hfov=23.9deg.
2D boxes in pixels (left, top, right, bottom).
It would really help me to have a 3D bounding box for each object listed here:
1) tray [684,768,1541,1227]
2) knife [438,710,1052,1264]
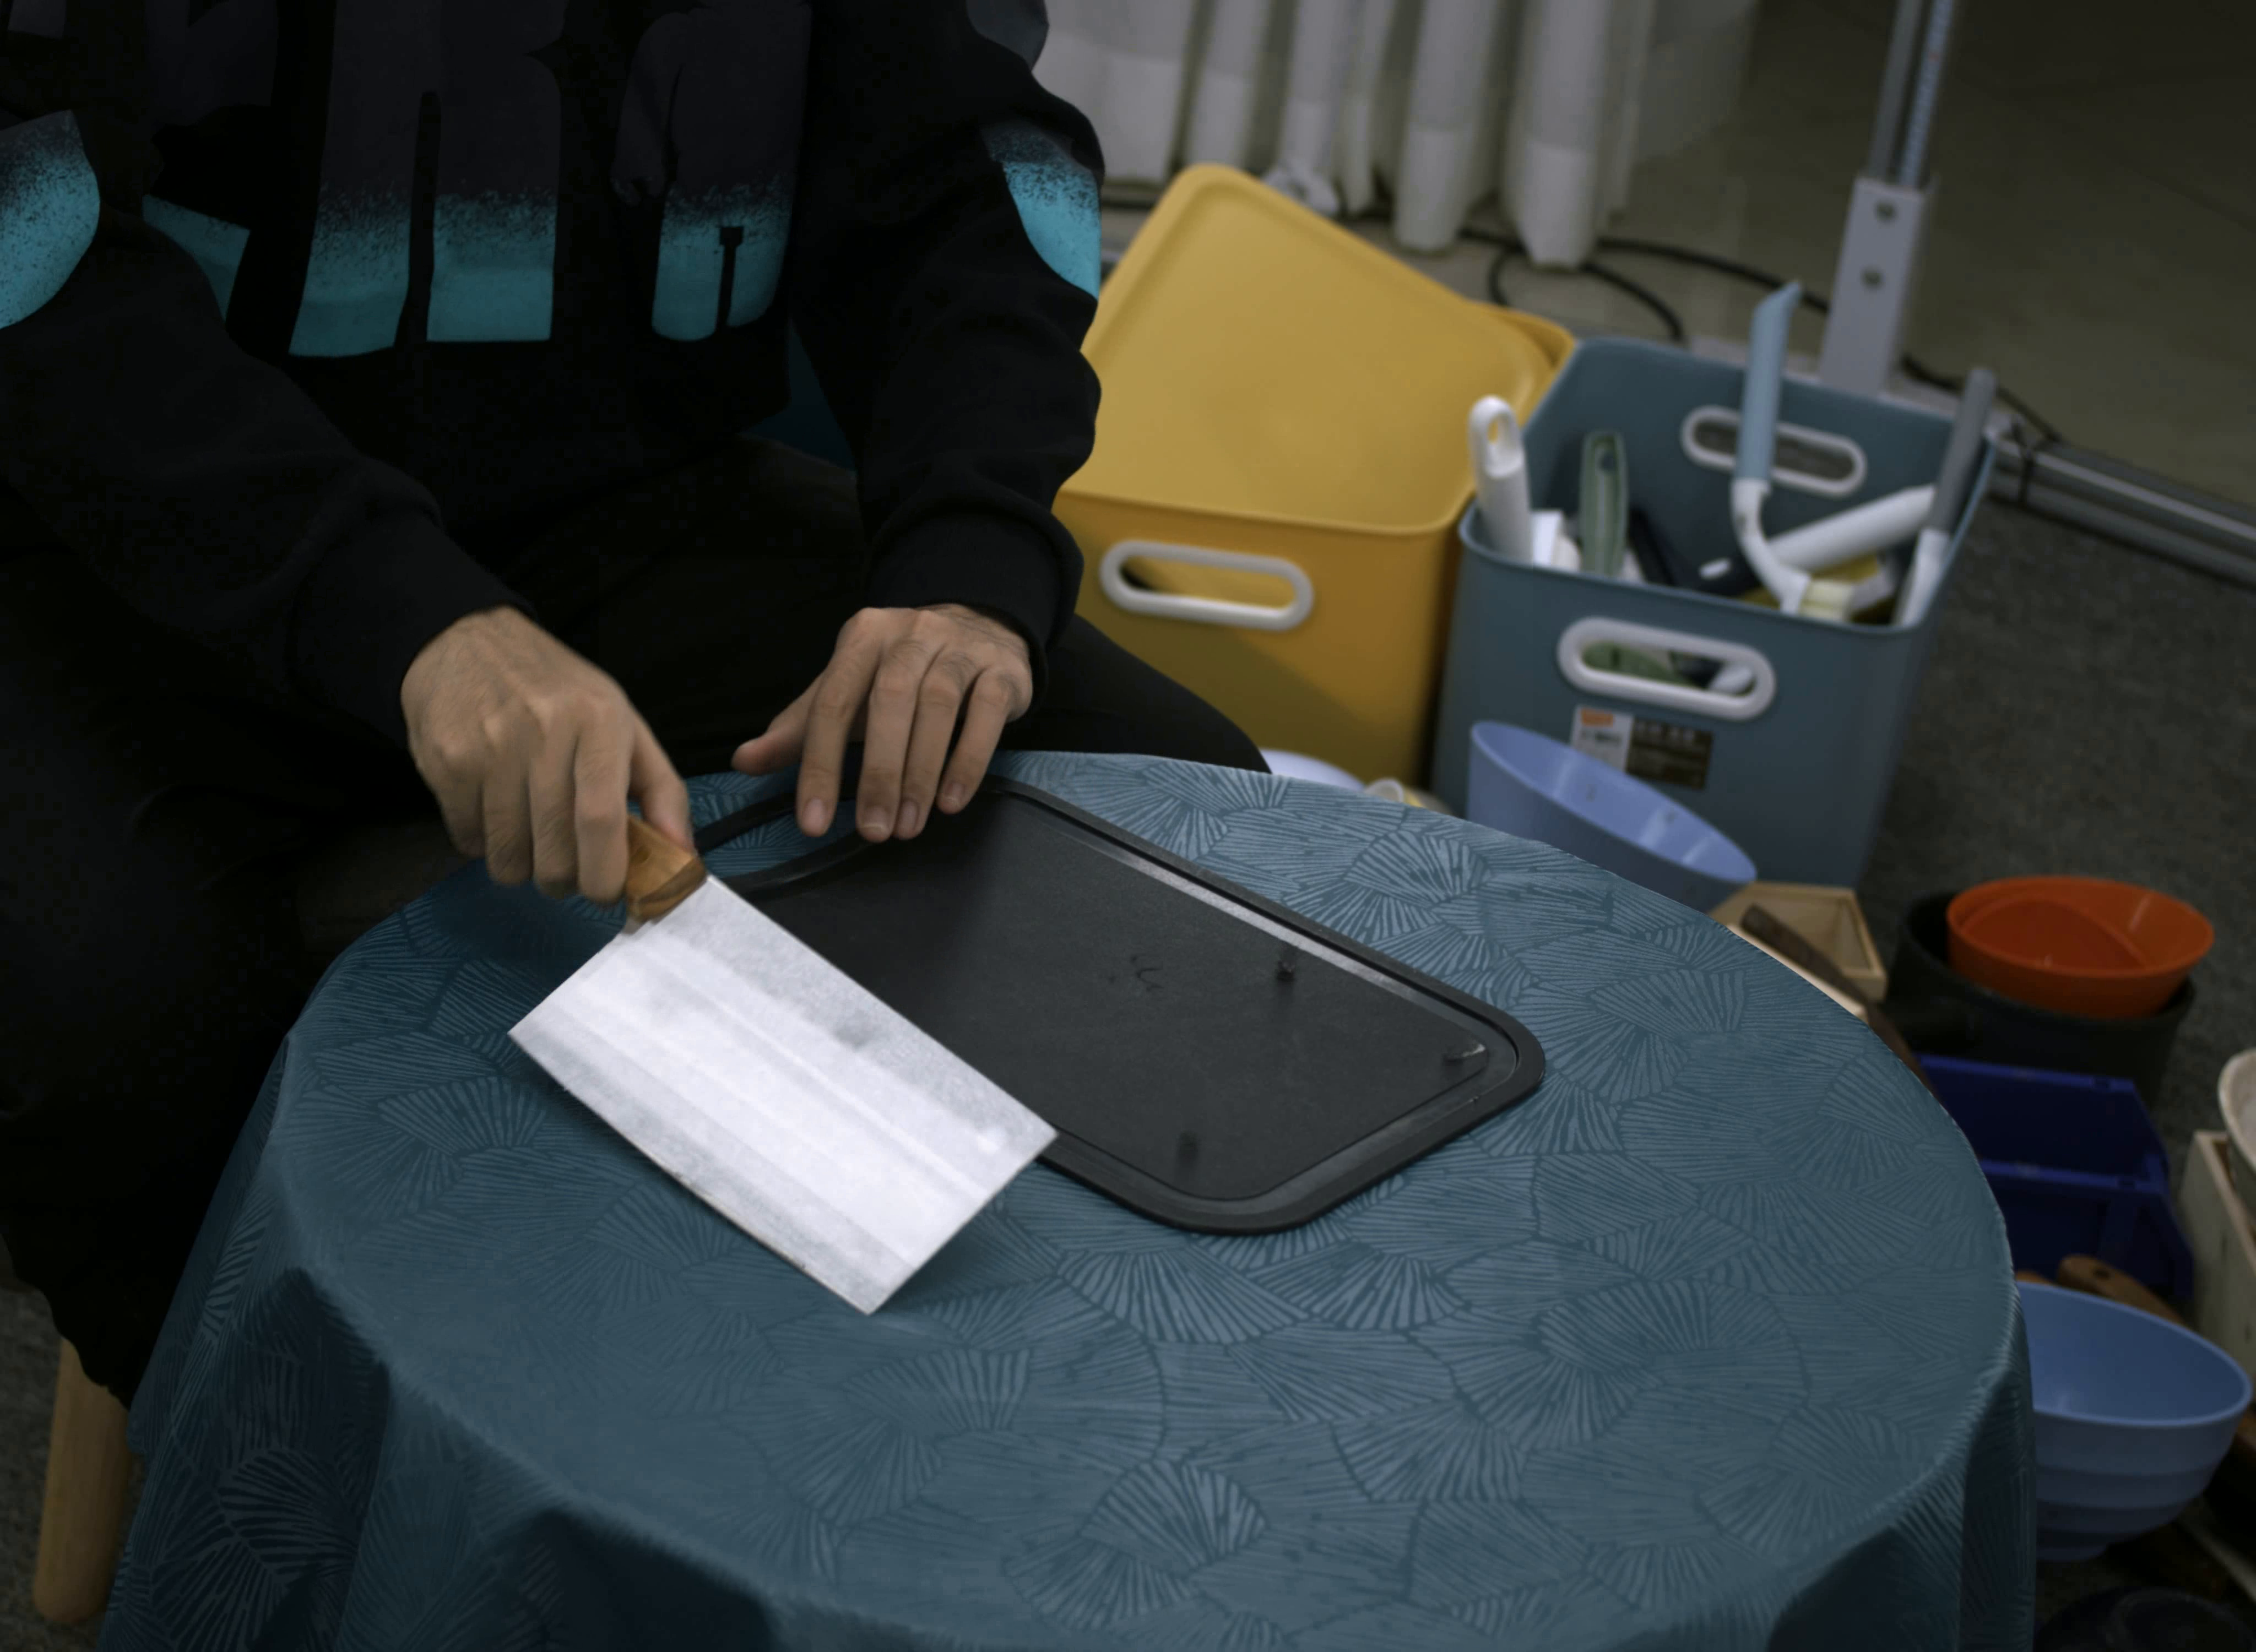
[{"bbox_3d":[-0.023,0.053,1.927,0.327,0.010,0.210,26,33,33],"label":"tray"},{"bbox_3d":[-0.153,0.056,1.820,0.093,0.021,0.308,-44,53,-15],"label":"knife"}]
